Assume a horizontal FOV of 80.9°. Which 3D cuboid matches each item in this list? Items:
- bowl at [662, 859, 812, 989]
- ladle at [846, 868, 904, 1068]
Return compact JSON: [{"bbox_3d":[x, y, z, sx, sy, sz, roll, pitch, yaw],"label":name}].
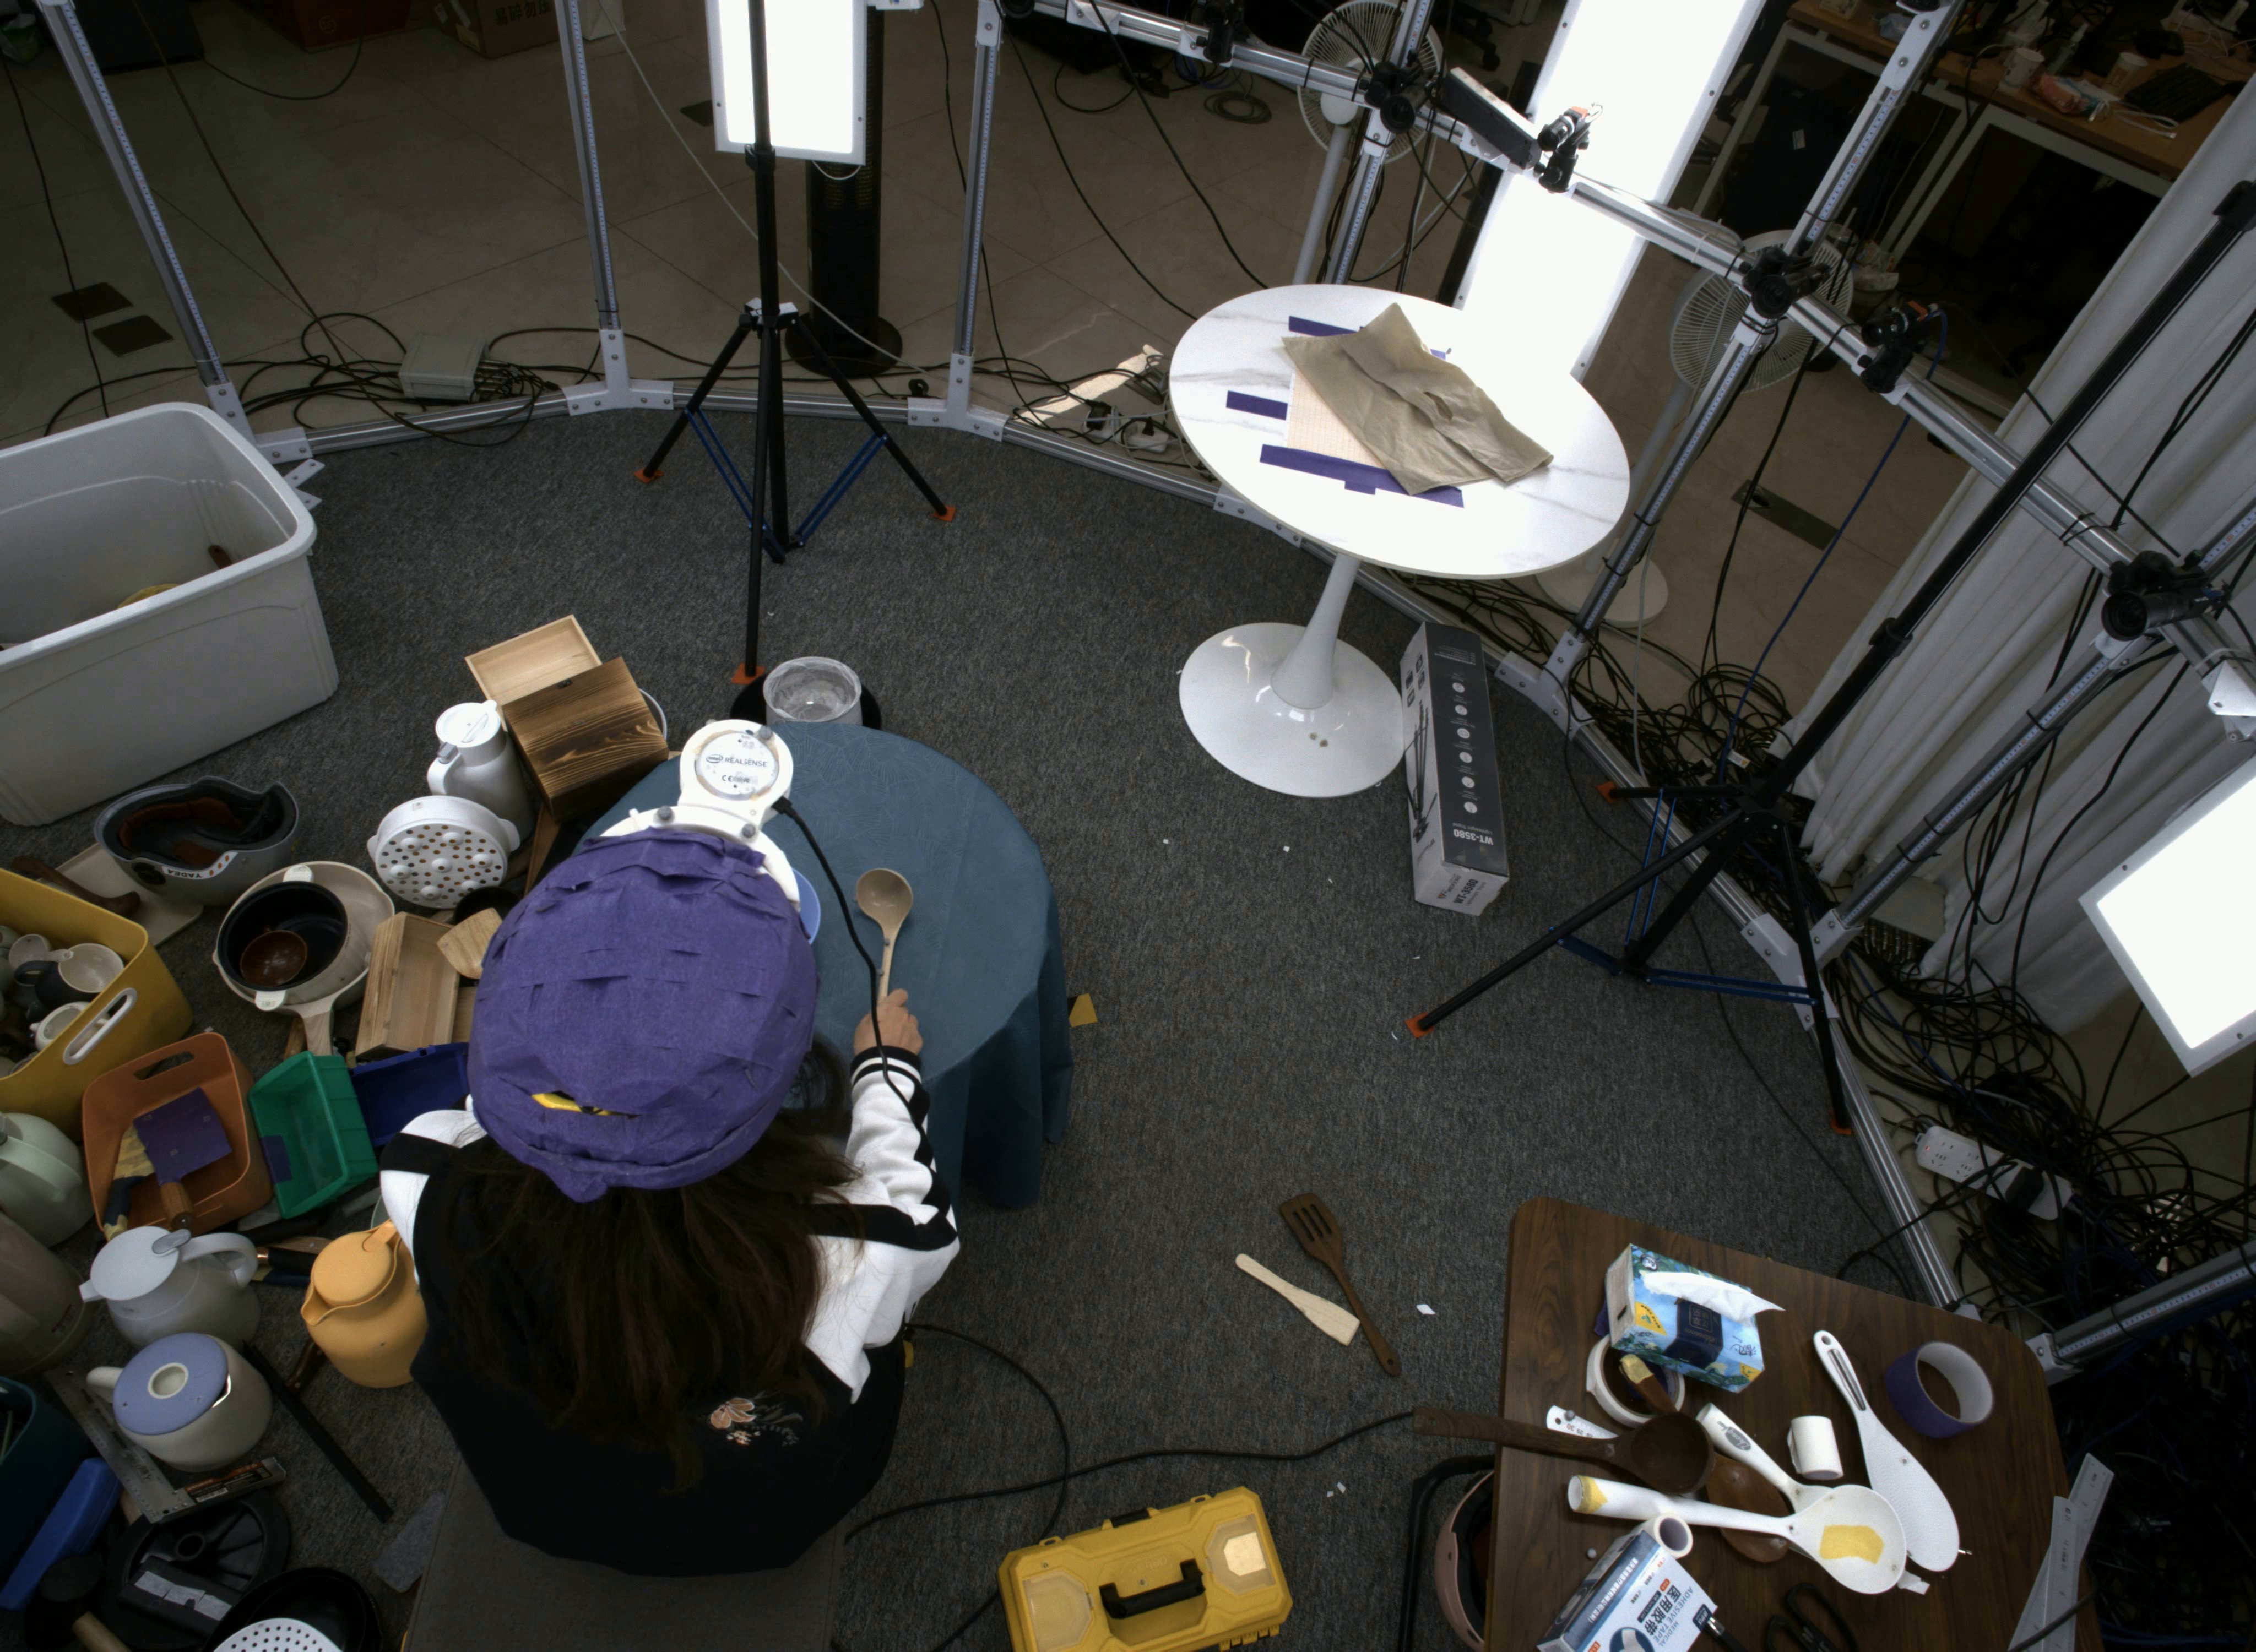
[{"bbox_3d":[-0.471,0.128,1.565,0.175,0.072,0.173,7,52,-8],"label":"bowl"},{"bbox_3d":[-0.310,0.162,1.576,0.071,0.075,0.249,-10,52,4],"label":"ladle"}]
